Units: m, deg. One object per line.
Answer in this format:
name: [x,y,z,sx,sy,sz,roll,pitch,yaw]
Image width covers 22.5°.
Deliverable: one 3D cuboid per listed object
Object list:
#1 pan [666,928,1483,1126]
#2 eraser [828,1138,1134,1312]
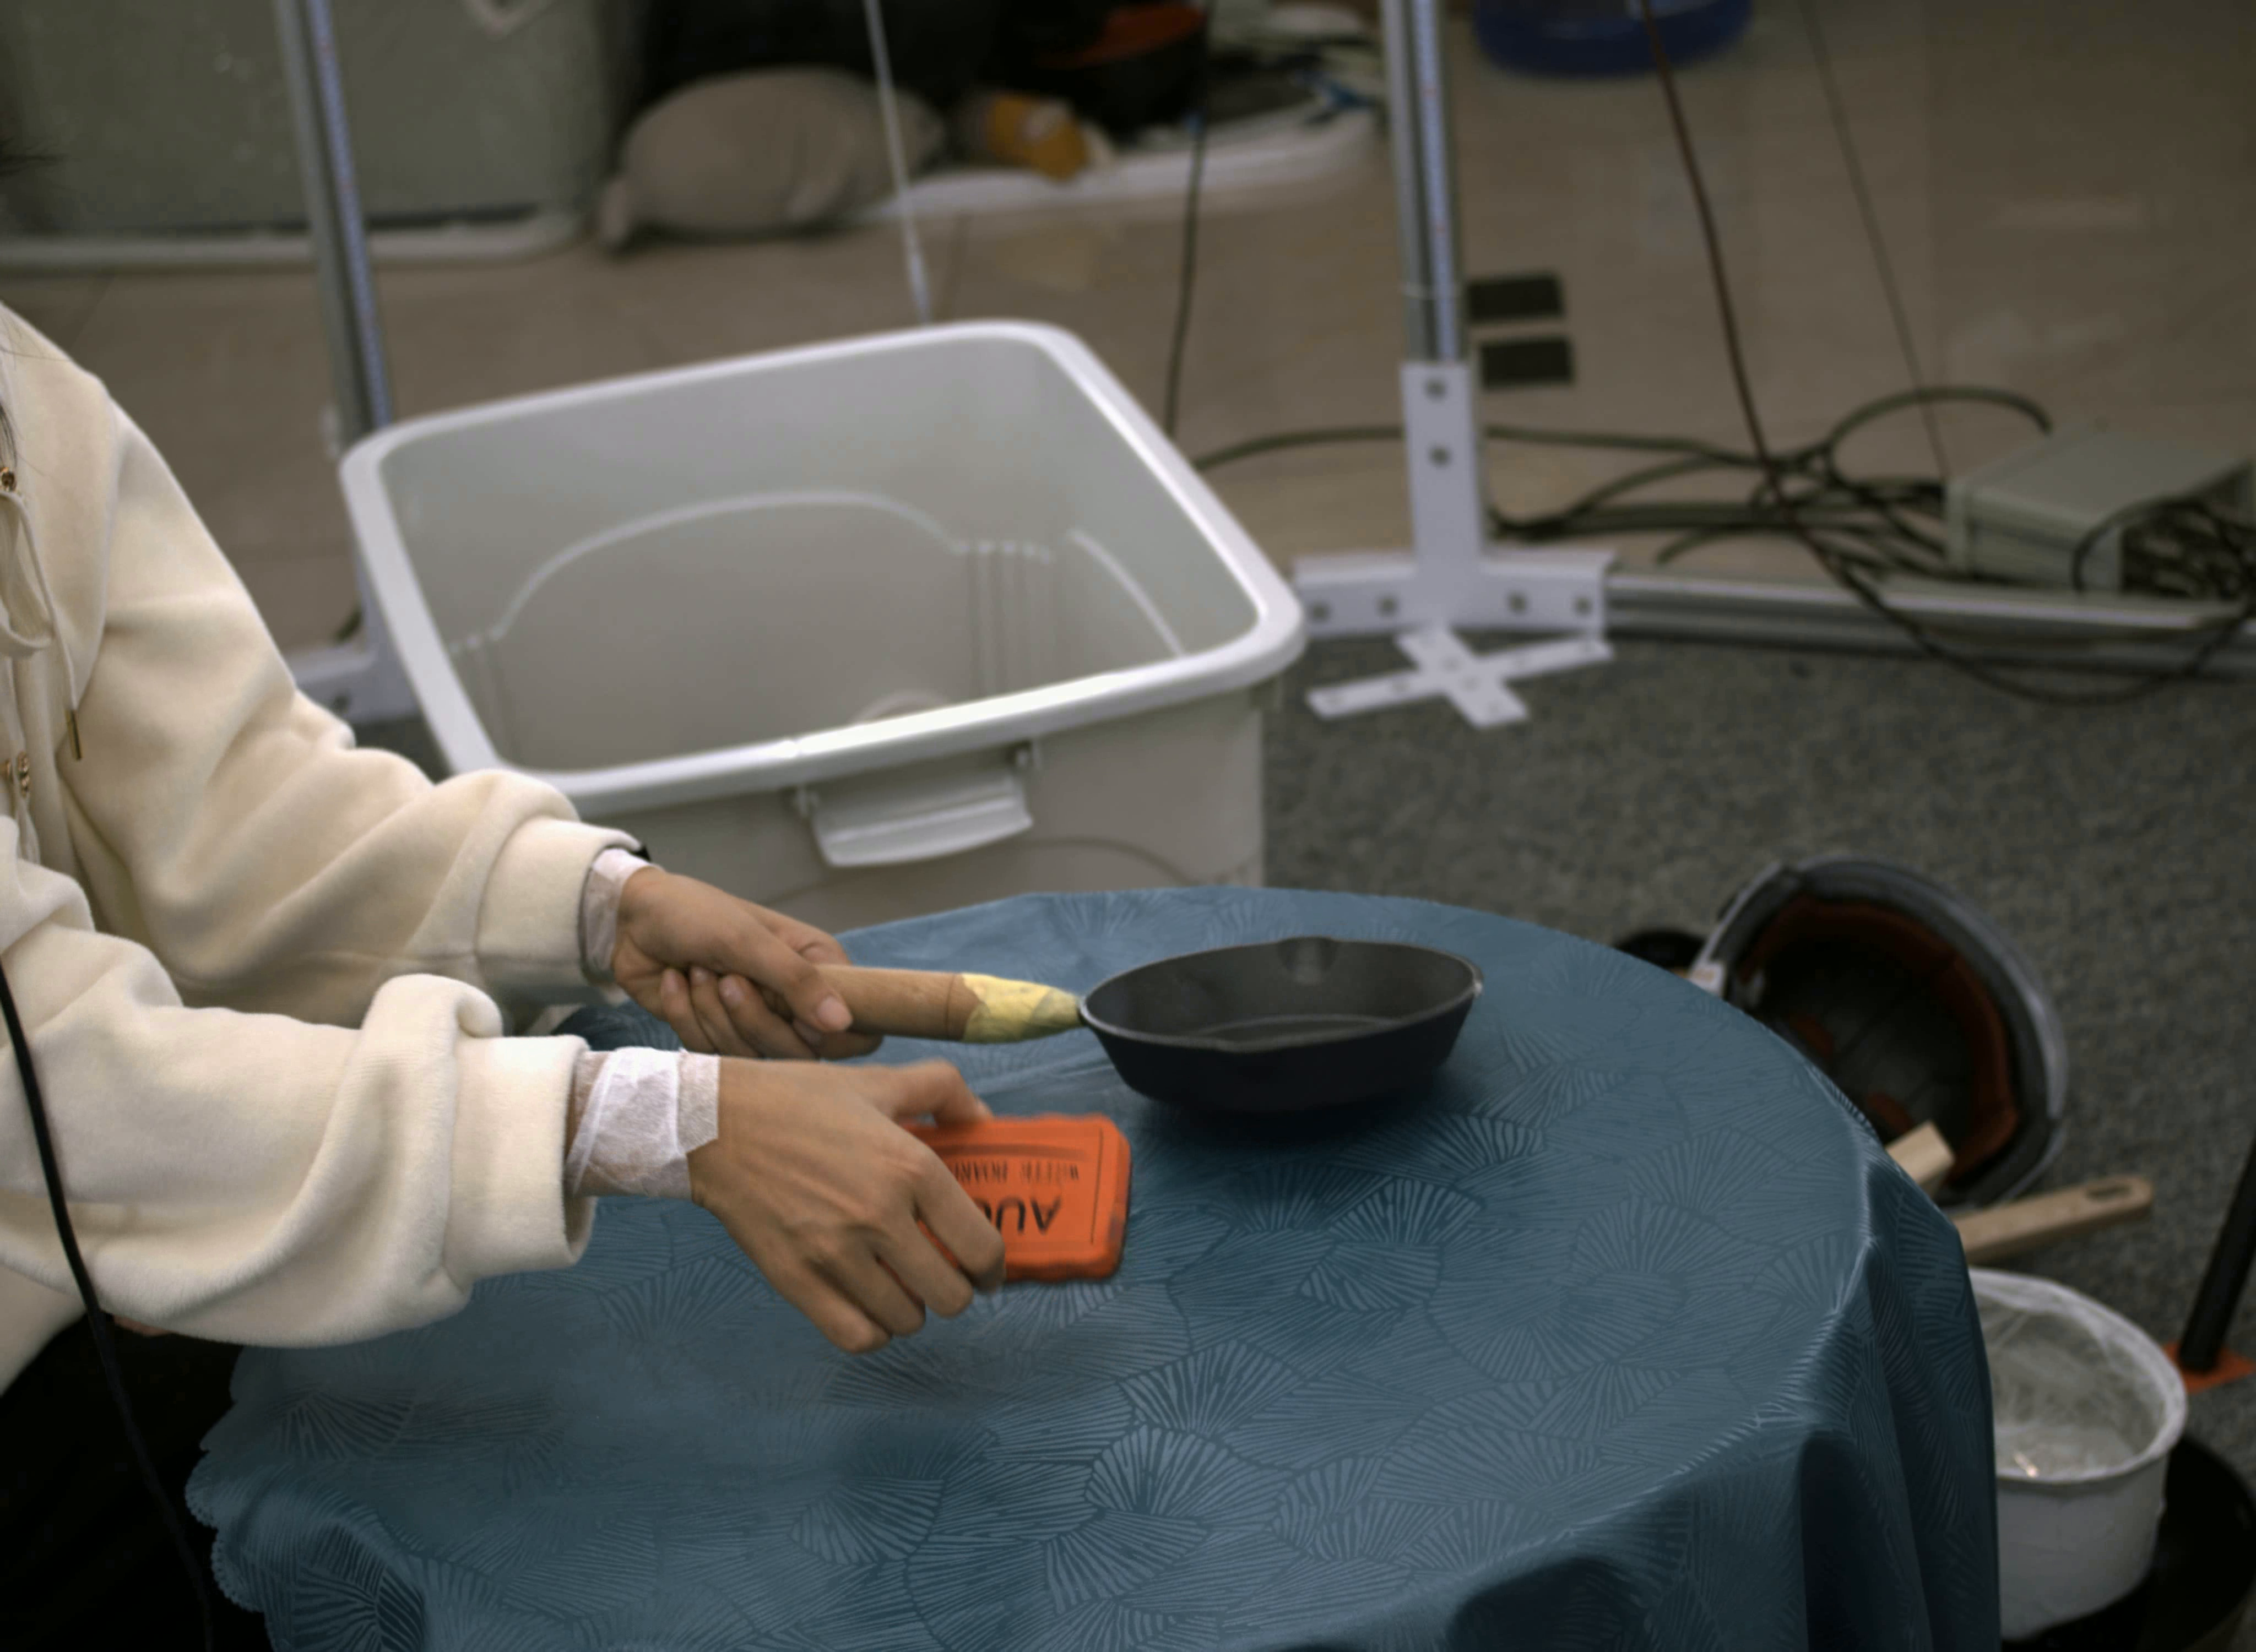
pan: [-0.022,0.075,2.211,0.323,0.050,0.167,0,16,12]
eraser: [-0.053,0.143,2.035,0.108,0.023,0.058,-4,63,19]
